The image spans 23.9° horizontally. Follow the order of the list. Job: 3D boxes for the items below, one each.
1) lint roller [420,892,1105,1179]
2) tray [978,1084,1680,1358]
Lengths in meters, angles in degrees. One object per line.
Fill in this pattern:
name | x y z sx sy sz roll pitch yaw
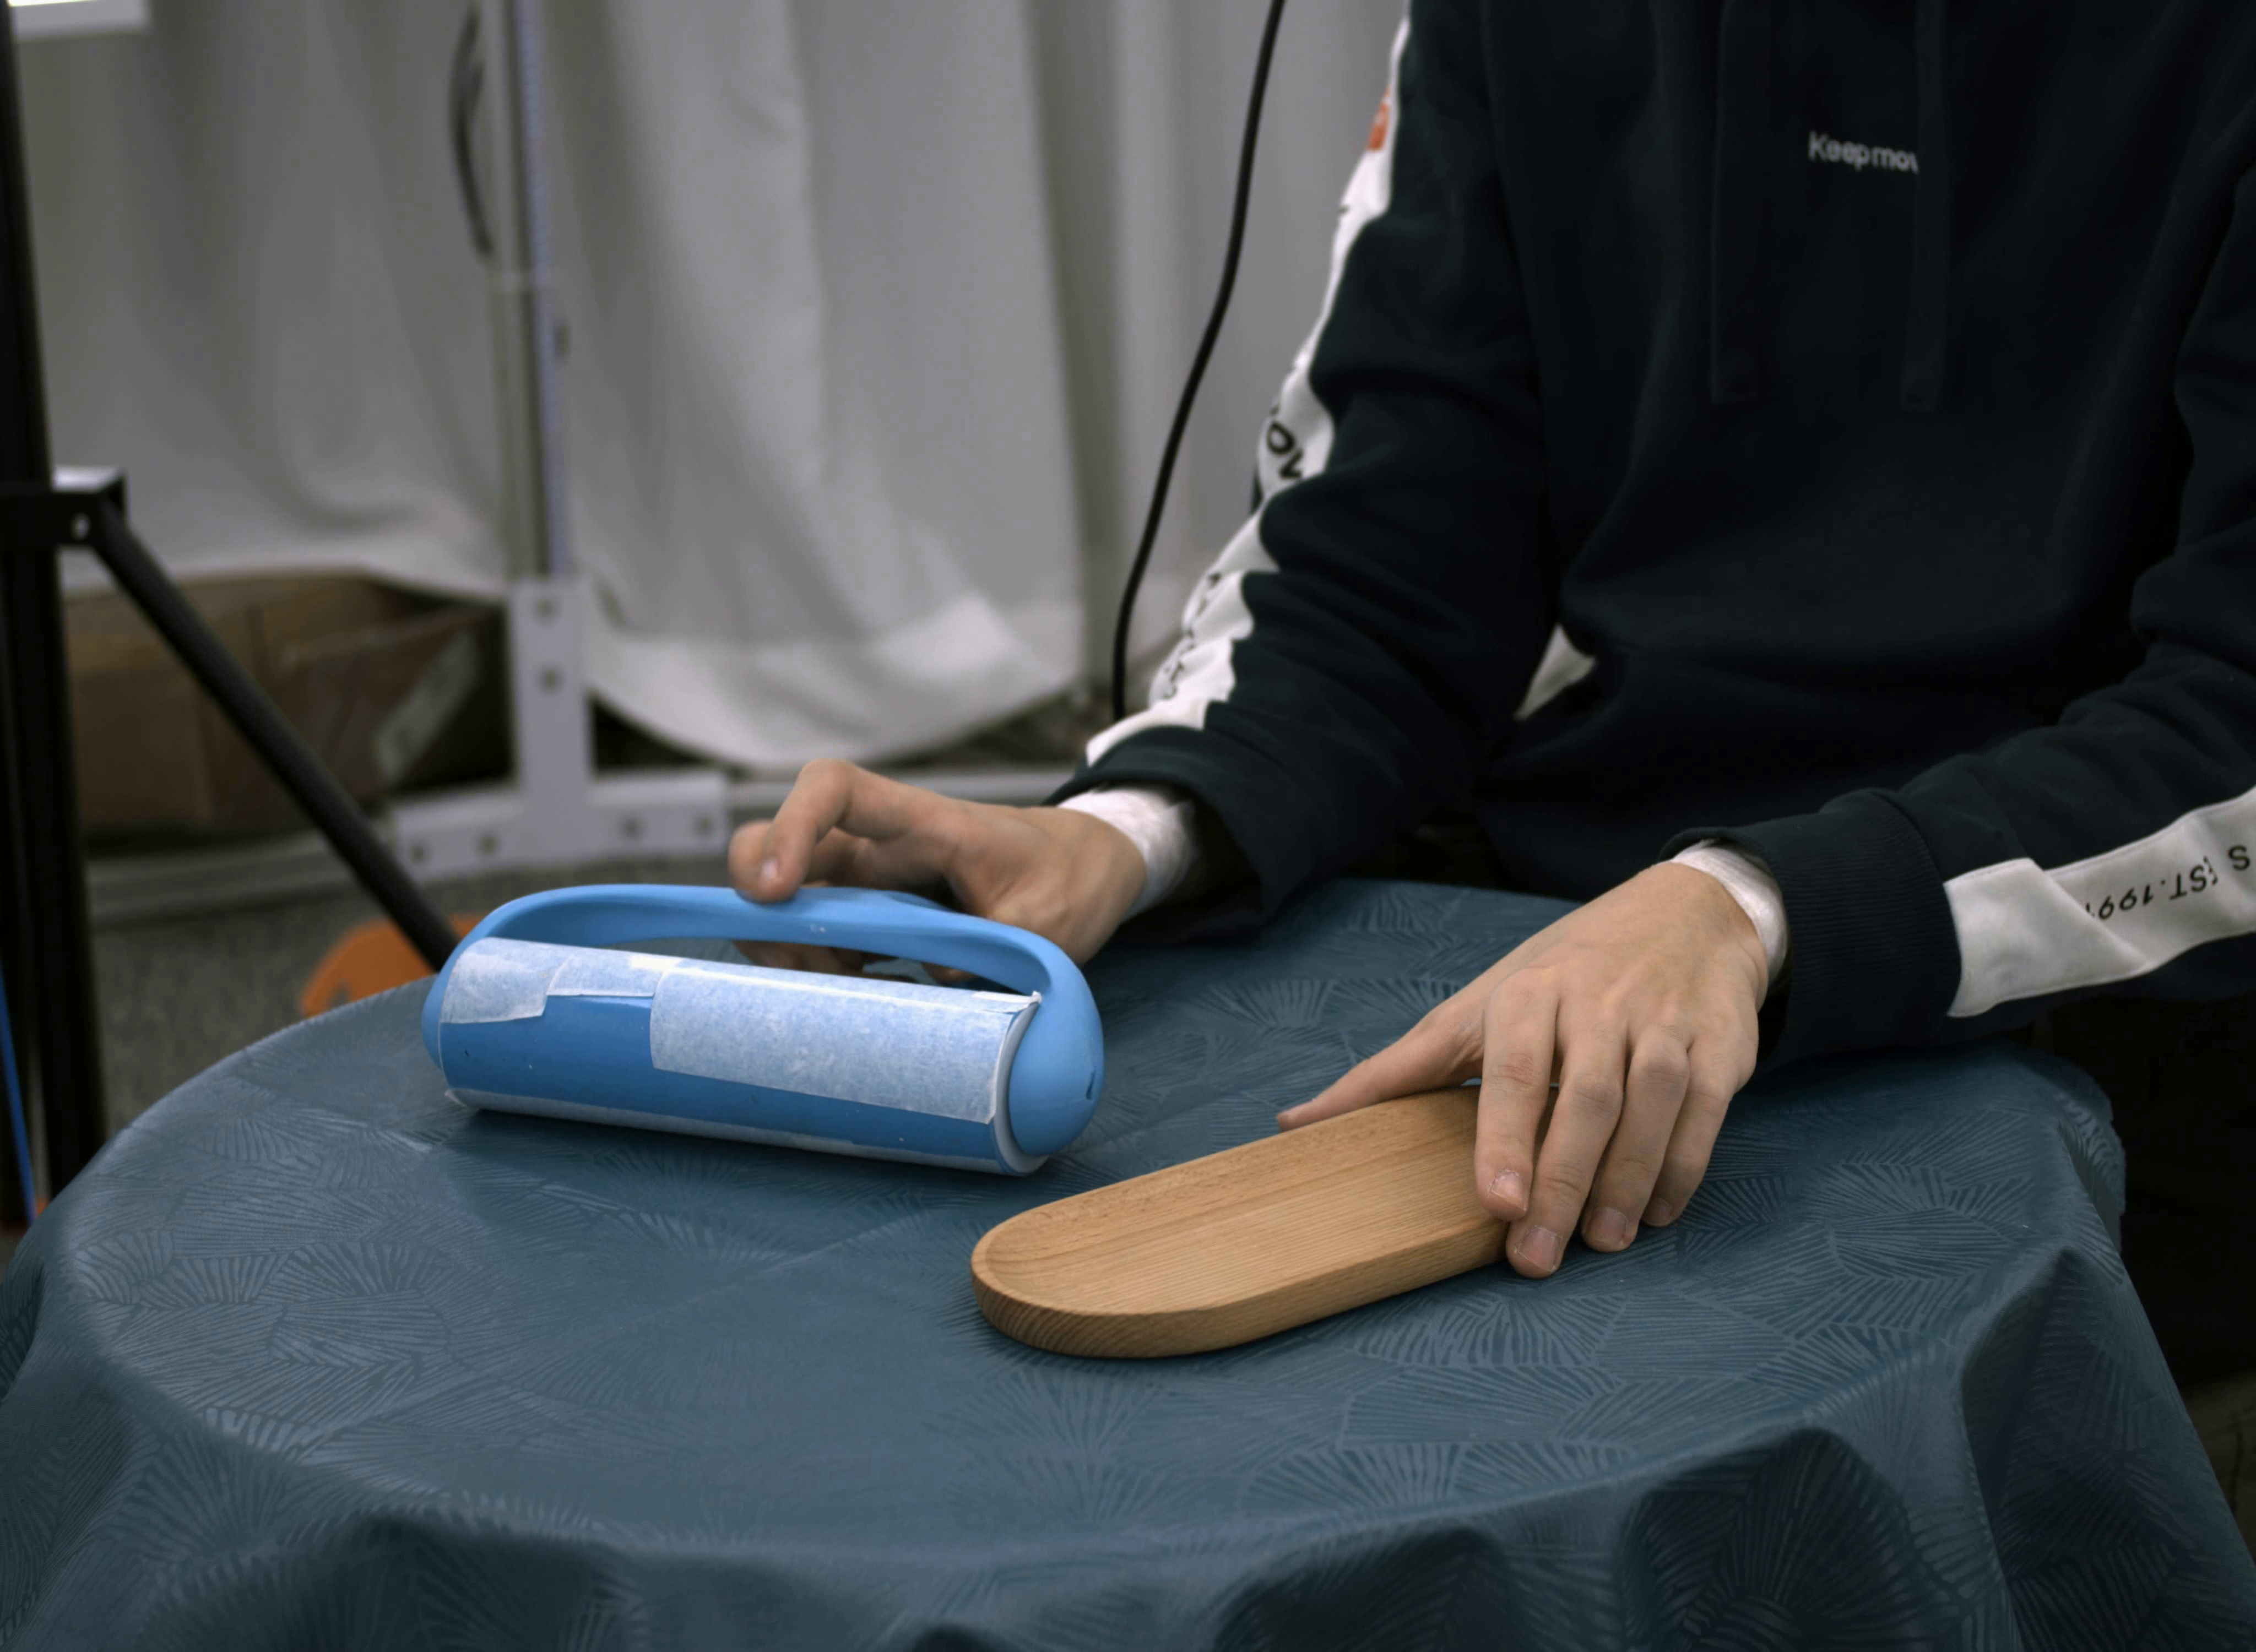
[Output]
lint roller | -0.091 0.052 1.665 0.232 0.068 0.178 3 18 24
tray | 0.060 0.111 1.507 0.226 0.020 0.104 -13 20 -36
